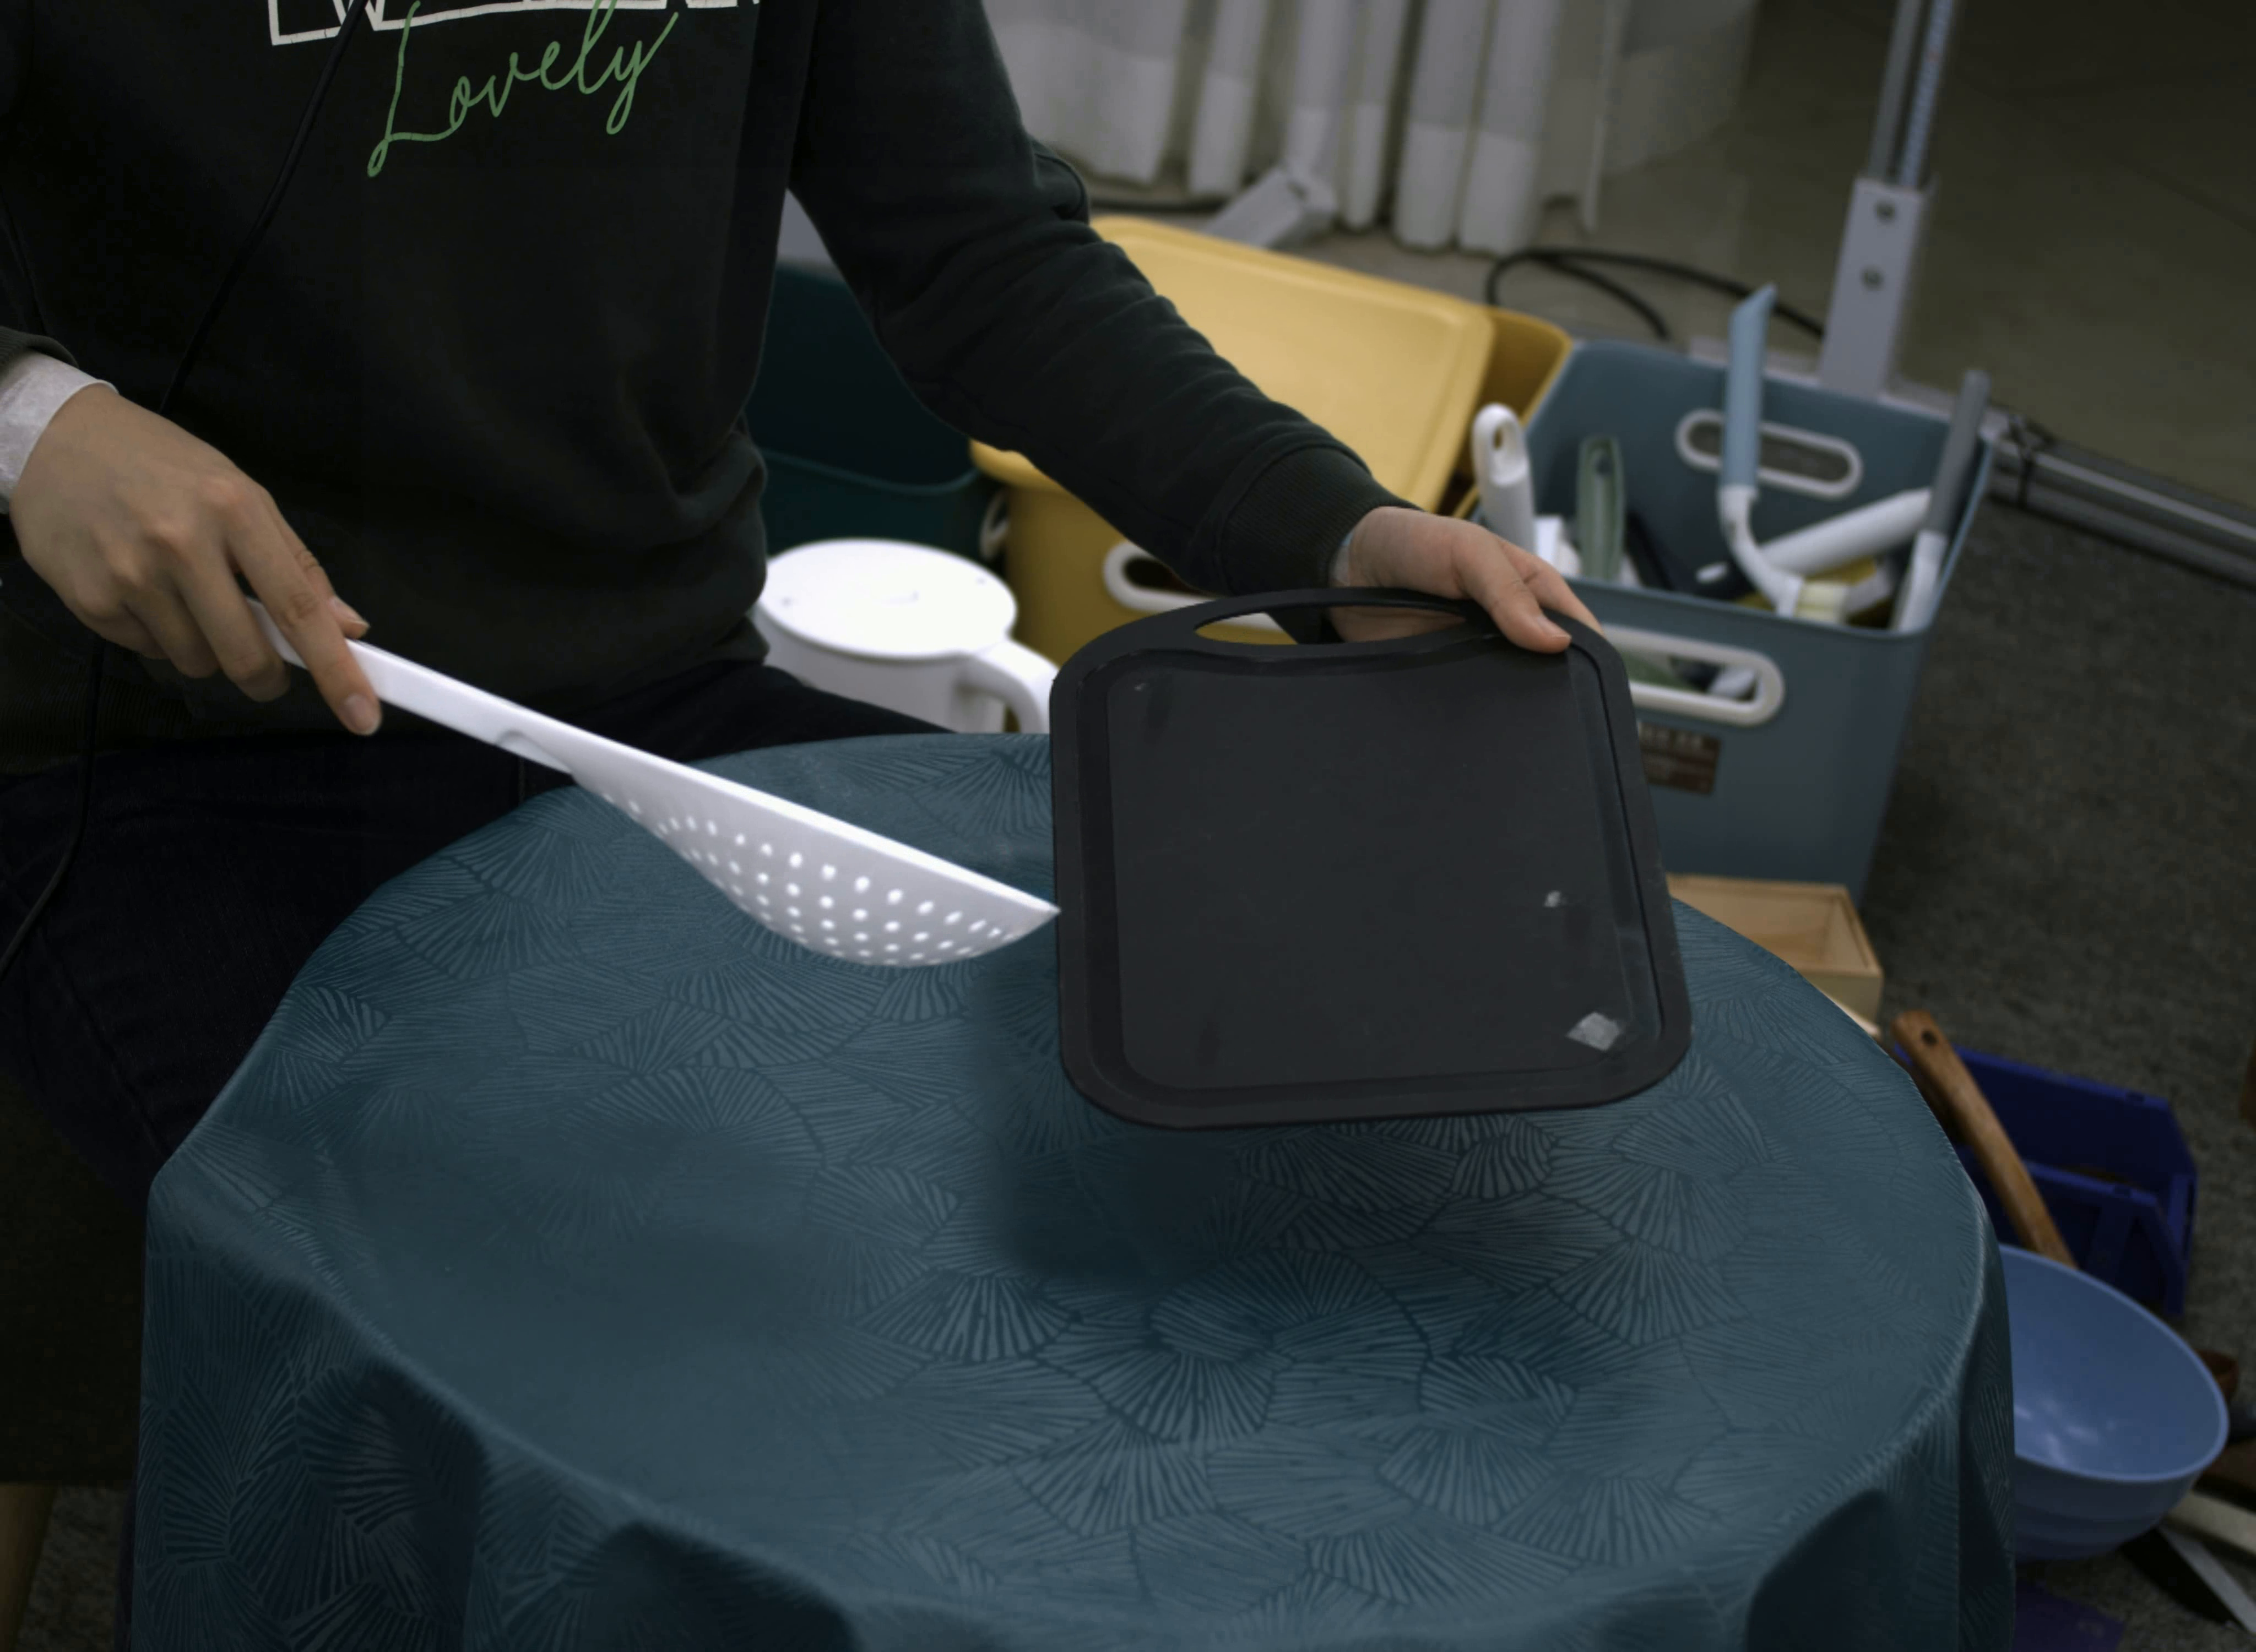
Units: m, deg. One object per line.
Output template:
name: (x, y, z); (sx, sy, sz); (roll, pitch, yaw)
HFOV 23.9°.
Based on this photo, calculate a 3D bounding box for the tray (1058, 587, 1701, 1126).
tray: (0.081, 0.002, 1.845); (0.210, 0.010, 0.328); (-3, 34, 1)

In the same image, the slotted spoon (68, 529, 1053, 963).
slotted spoon: (-0.187, -0.029, 1.706); (0.350, 0.046, 0.135); (26, 0, 14)
